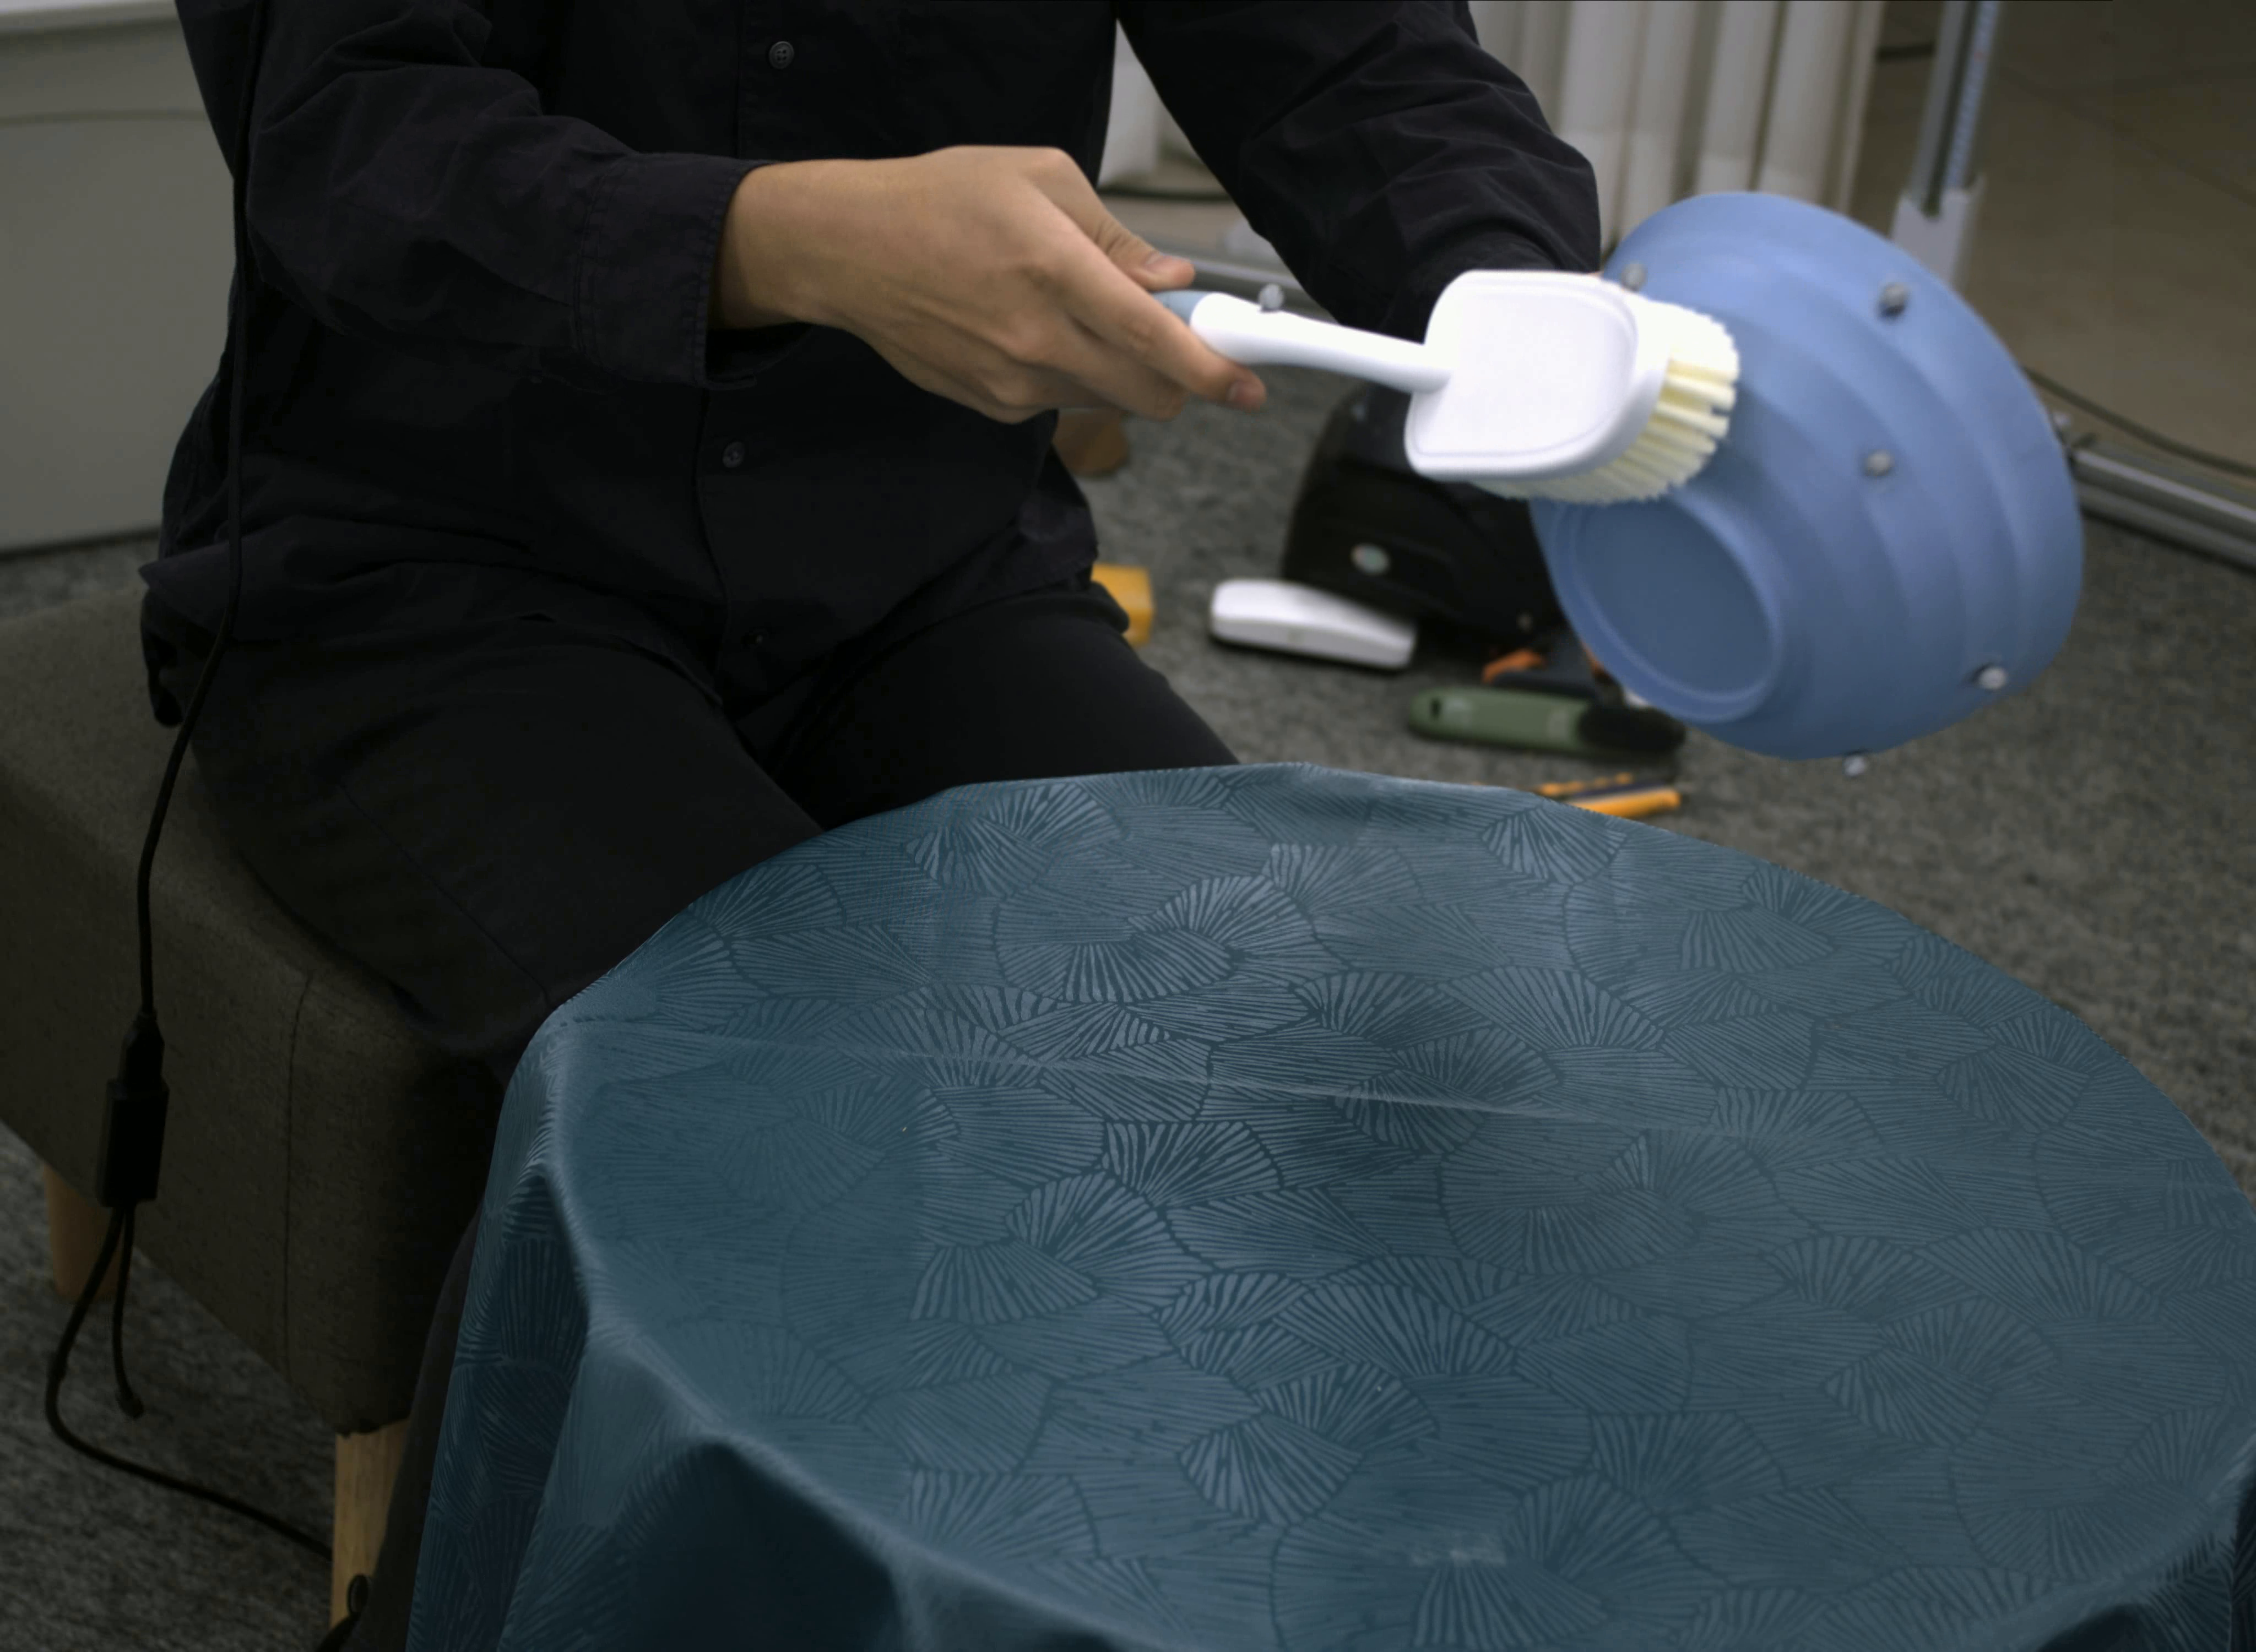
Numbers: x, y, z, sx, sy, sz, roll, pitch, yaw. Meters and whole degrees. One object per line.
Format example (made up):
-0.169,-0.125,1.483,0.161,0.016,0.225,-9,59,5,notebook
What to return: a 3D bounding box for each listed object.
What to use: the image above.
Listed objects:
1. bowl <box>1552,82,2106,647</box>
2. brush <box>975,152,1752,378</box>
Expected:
0.210,-0.133,1.735,0.198,0.195,0.095,27,51,34,bowl
0.082,-0.194,1.758,0.327,0.084,0.083,10,50,46,brush
